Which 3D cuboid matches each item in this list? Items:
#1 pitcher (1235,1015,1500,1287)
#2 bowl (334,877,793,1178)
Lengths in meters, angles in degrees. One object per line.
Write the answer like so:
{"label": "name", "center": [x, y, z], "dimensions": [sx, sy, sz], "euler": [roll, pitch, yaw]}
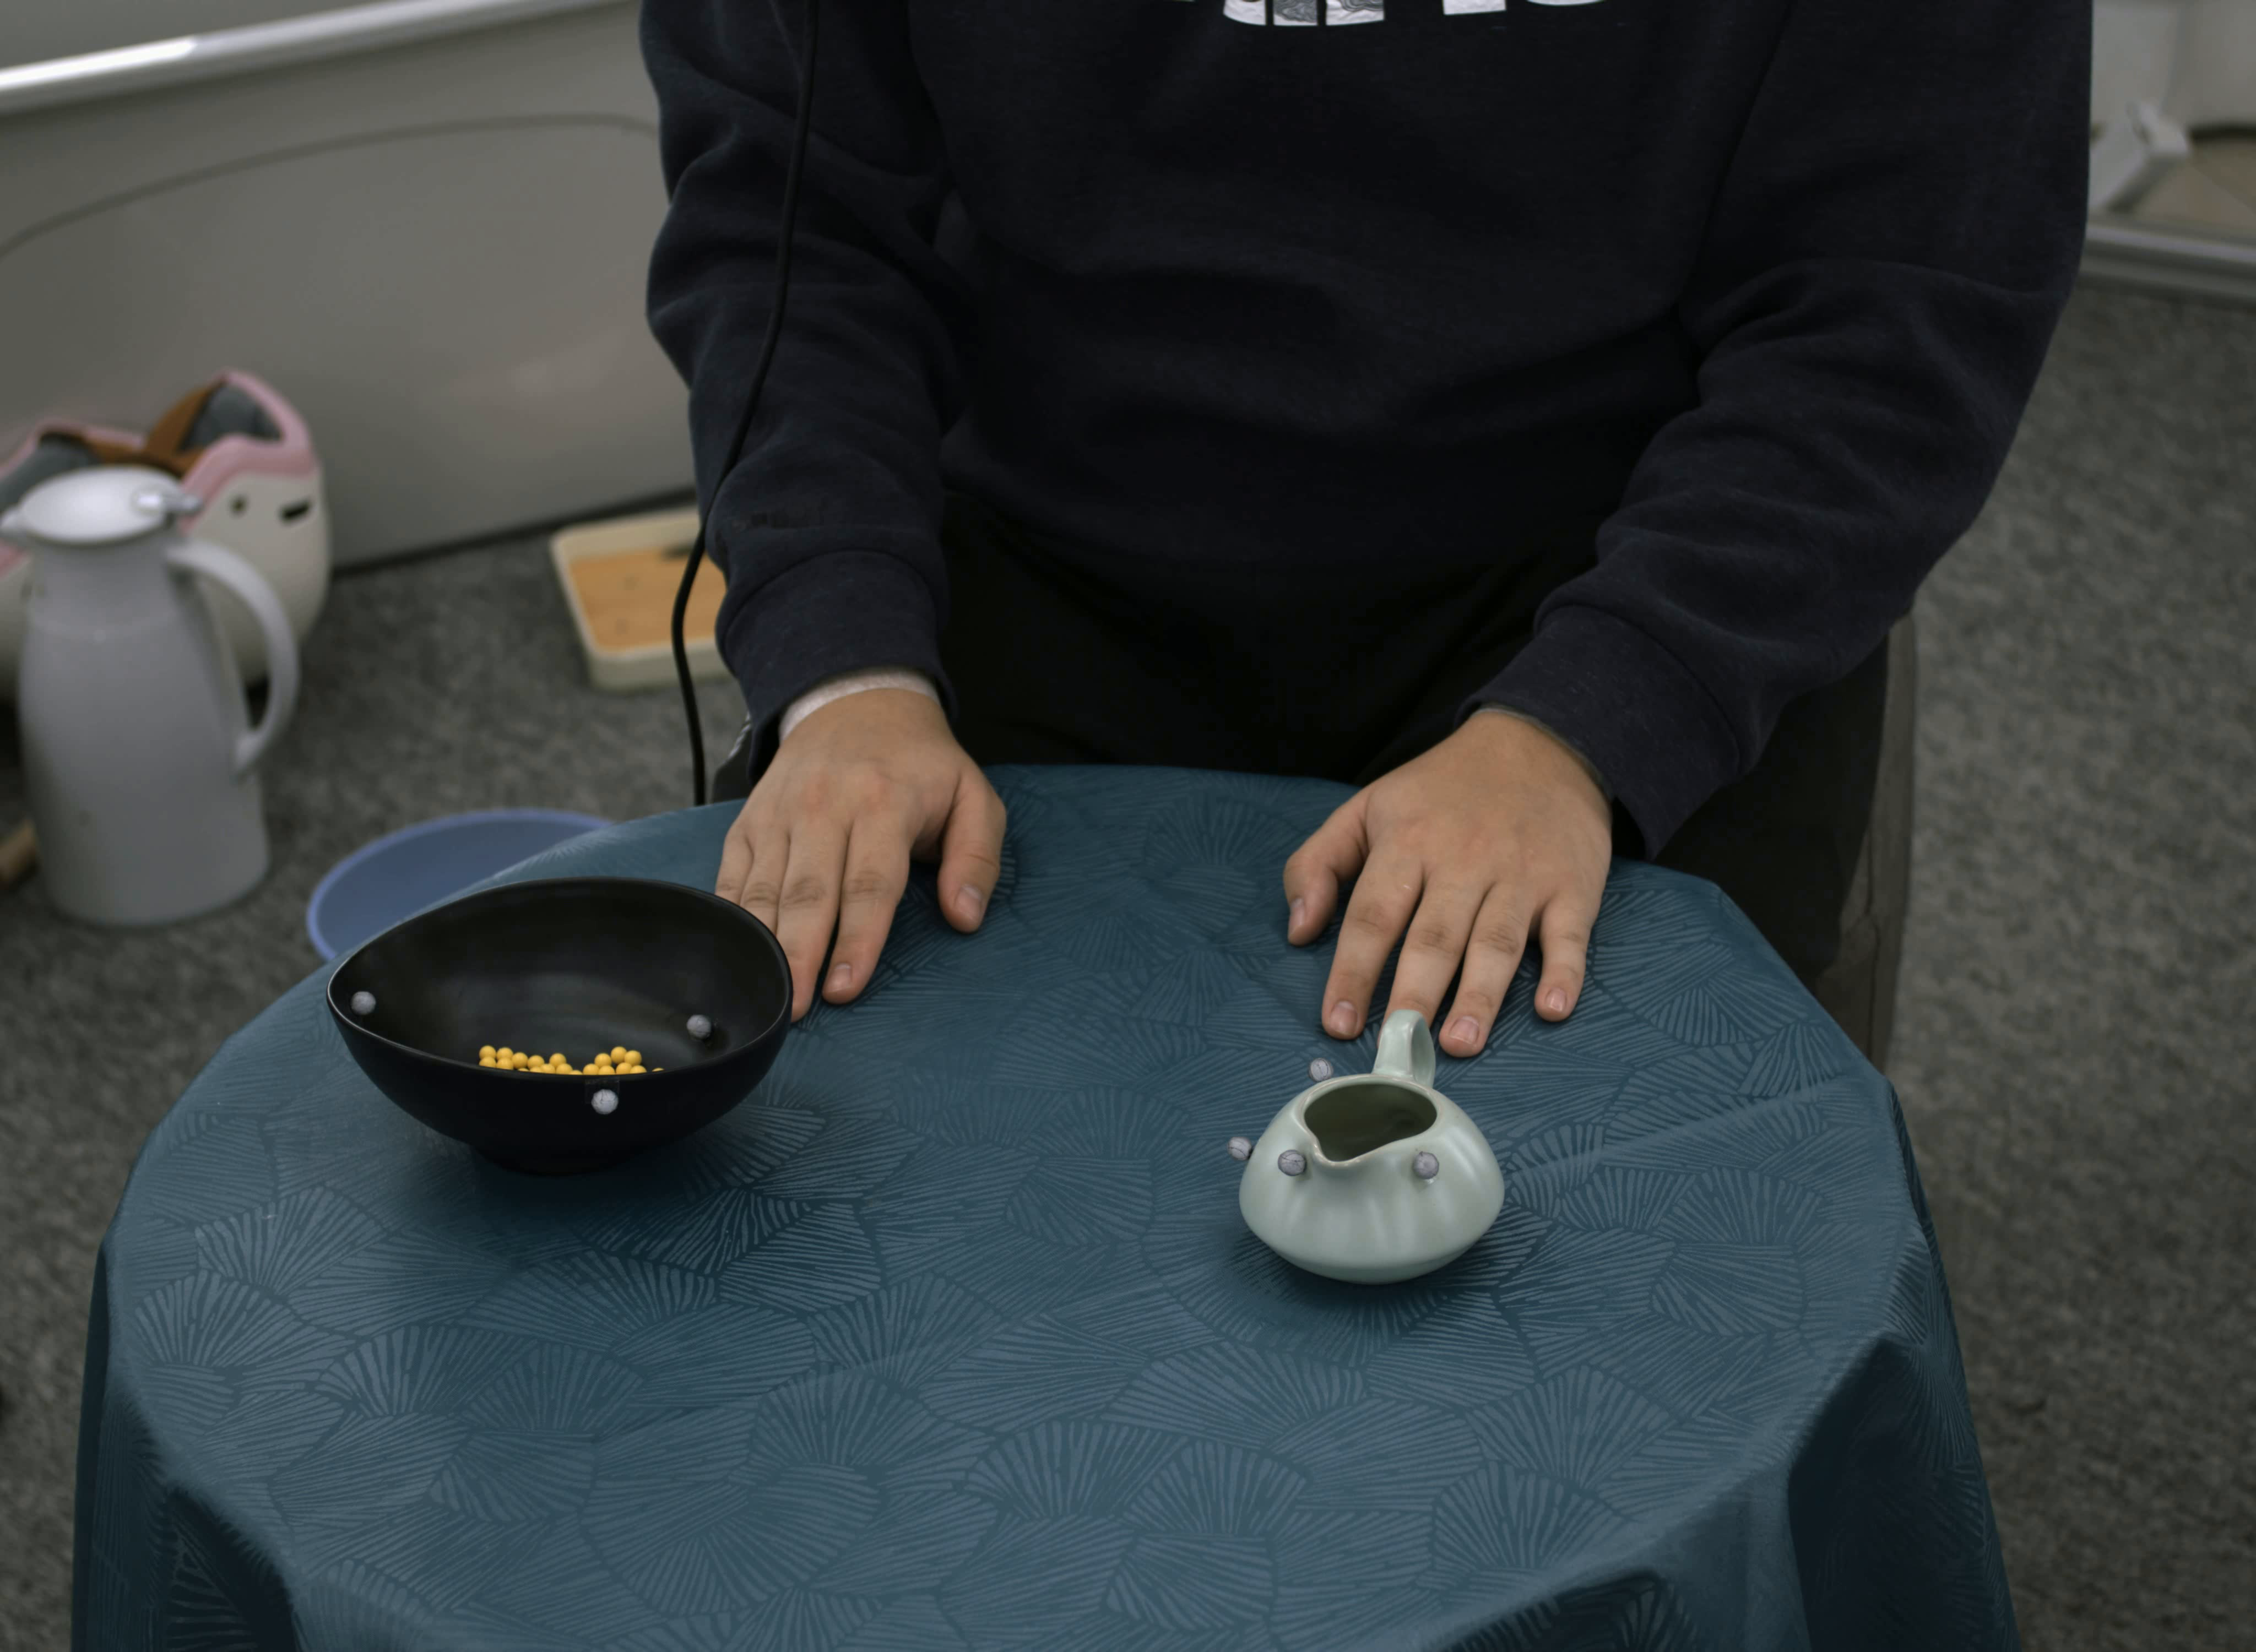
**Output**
{"label": "pitcher", "center": [0.080, 0.107, 1.827], "dimensions": [0.085, 0.060, 0.110], "euler": [5, 26, 14]}
{"label": "bowl", "center": [-0.191, 0.077, 1.901], "dimensions": [0.169, 0.066, 0.139], "euler": [12, 30, 27]}
